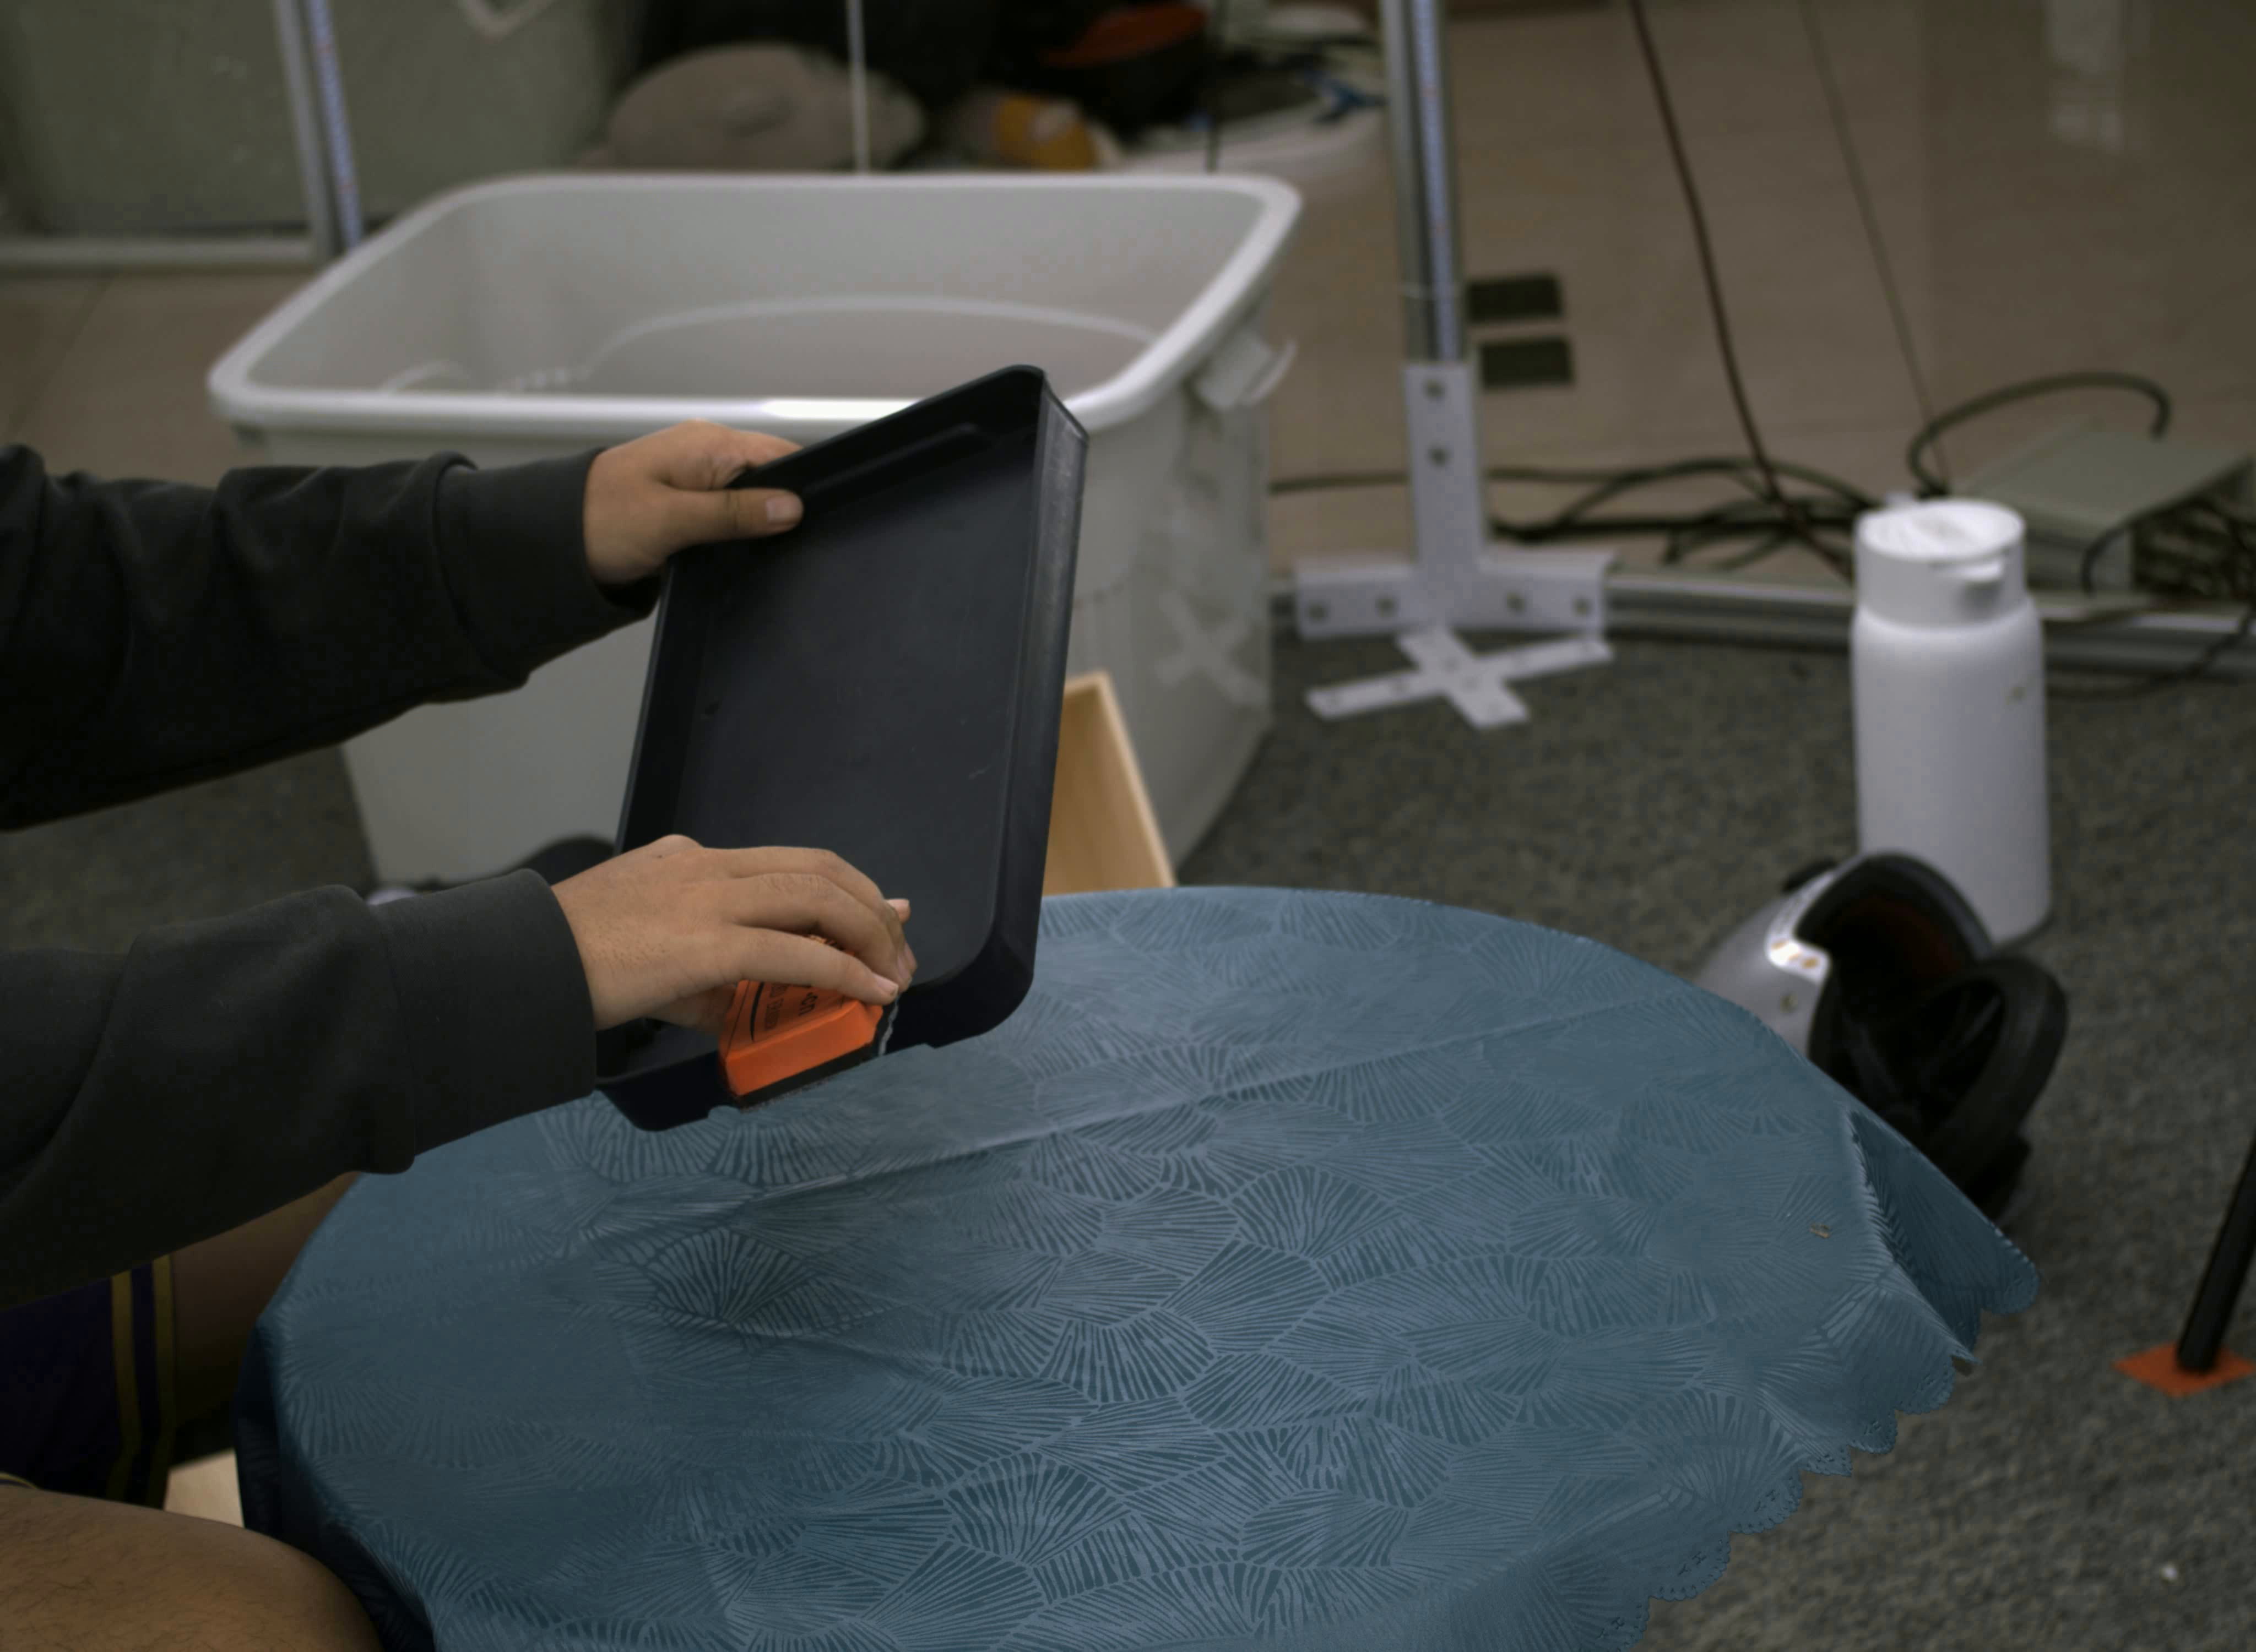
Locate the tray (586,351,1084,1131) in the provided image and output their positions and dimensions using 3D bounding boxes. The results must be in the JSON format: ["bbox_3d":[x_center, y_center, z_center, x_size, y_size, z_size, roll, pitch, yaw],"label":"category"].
[{"bbox_3d":[-0.108,-0.035,2.160,0.185,0.037,0.312,-20,44,26],"label":"tray"}]

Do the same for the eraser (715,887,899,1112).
[{"bbox_3d":[-0.114,0.061,2.016,0.059,0.023,0.106,-30,18,14],"label":"eraser"}]
